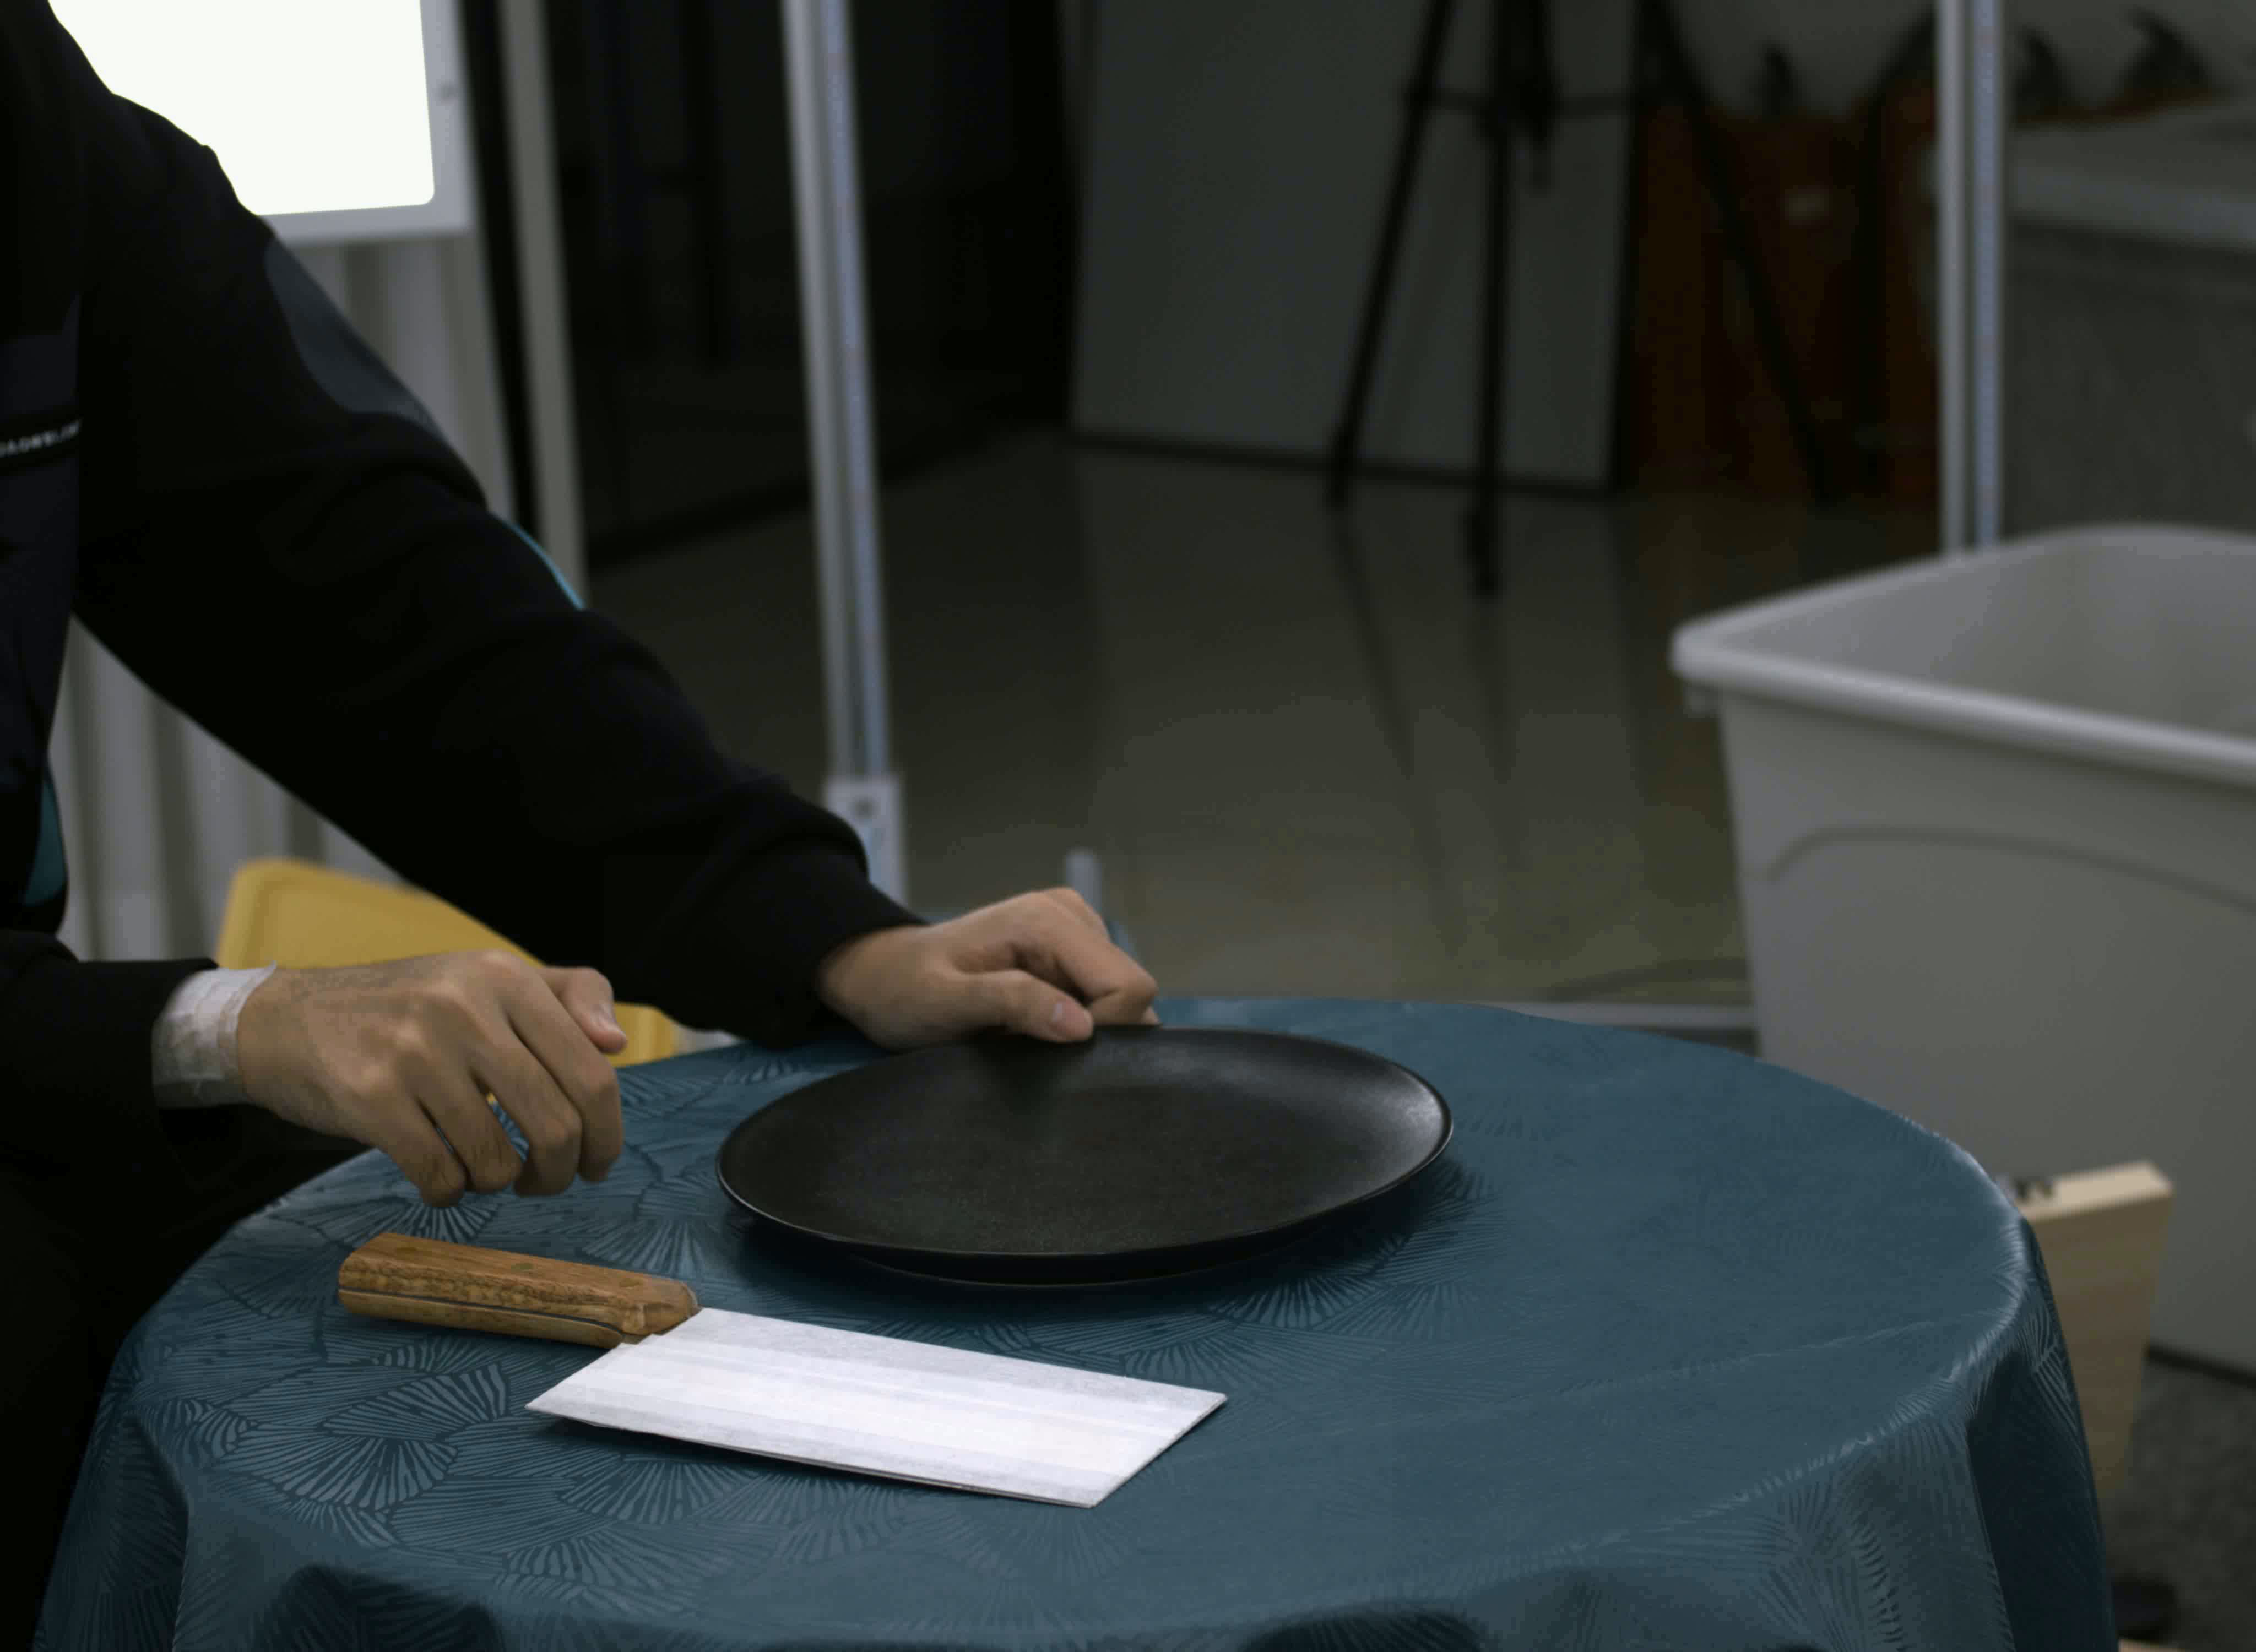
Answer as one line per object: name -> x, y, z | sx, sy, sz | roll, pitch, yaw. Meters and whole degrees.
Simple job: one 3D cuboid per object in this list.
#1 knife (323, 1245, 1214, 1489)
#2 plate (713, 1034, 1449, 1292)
knife -> -0.123, 0.163, 1.605 | 0.306, 0.021, 0.091 | 6, 18, 28
plate -> -0.014, 0.112, 1.763 | 0.241, 0.024, 0.245 | -4, 14, 0
